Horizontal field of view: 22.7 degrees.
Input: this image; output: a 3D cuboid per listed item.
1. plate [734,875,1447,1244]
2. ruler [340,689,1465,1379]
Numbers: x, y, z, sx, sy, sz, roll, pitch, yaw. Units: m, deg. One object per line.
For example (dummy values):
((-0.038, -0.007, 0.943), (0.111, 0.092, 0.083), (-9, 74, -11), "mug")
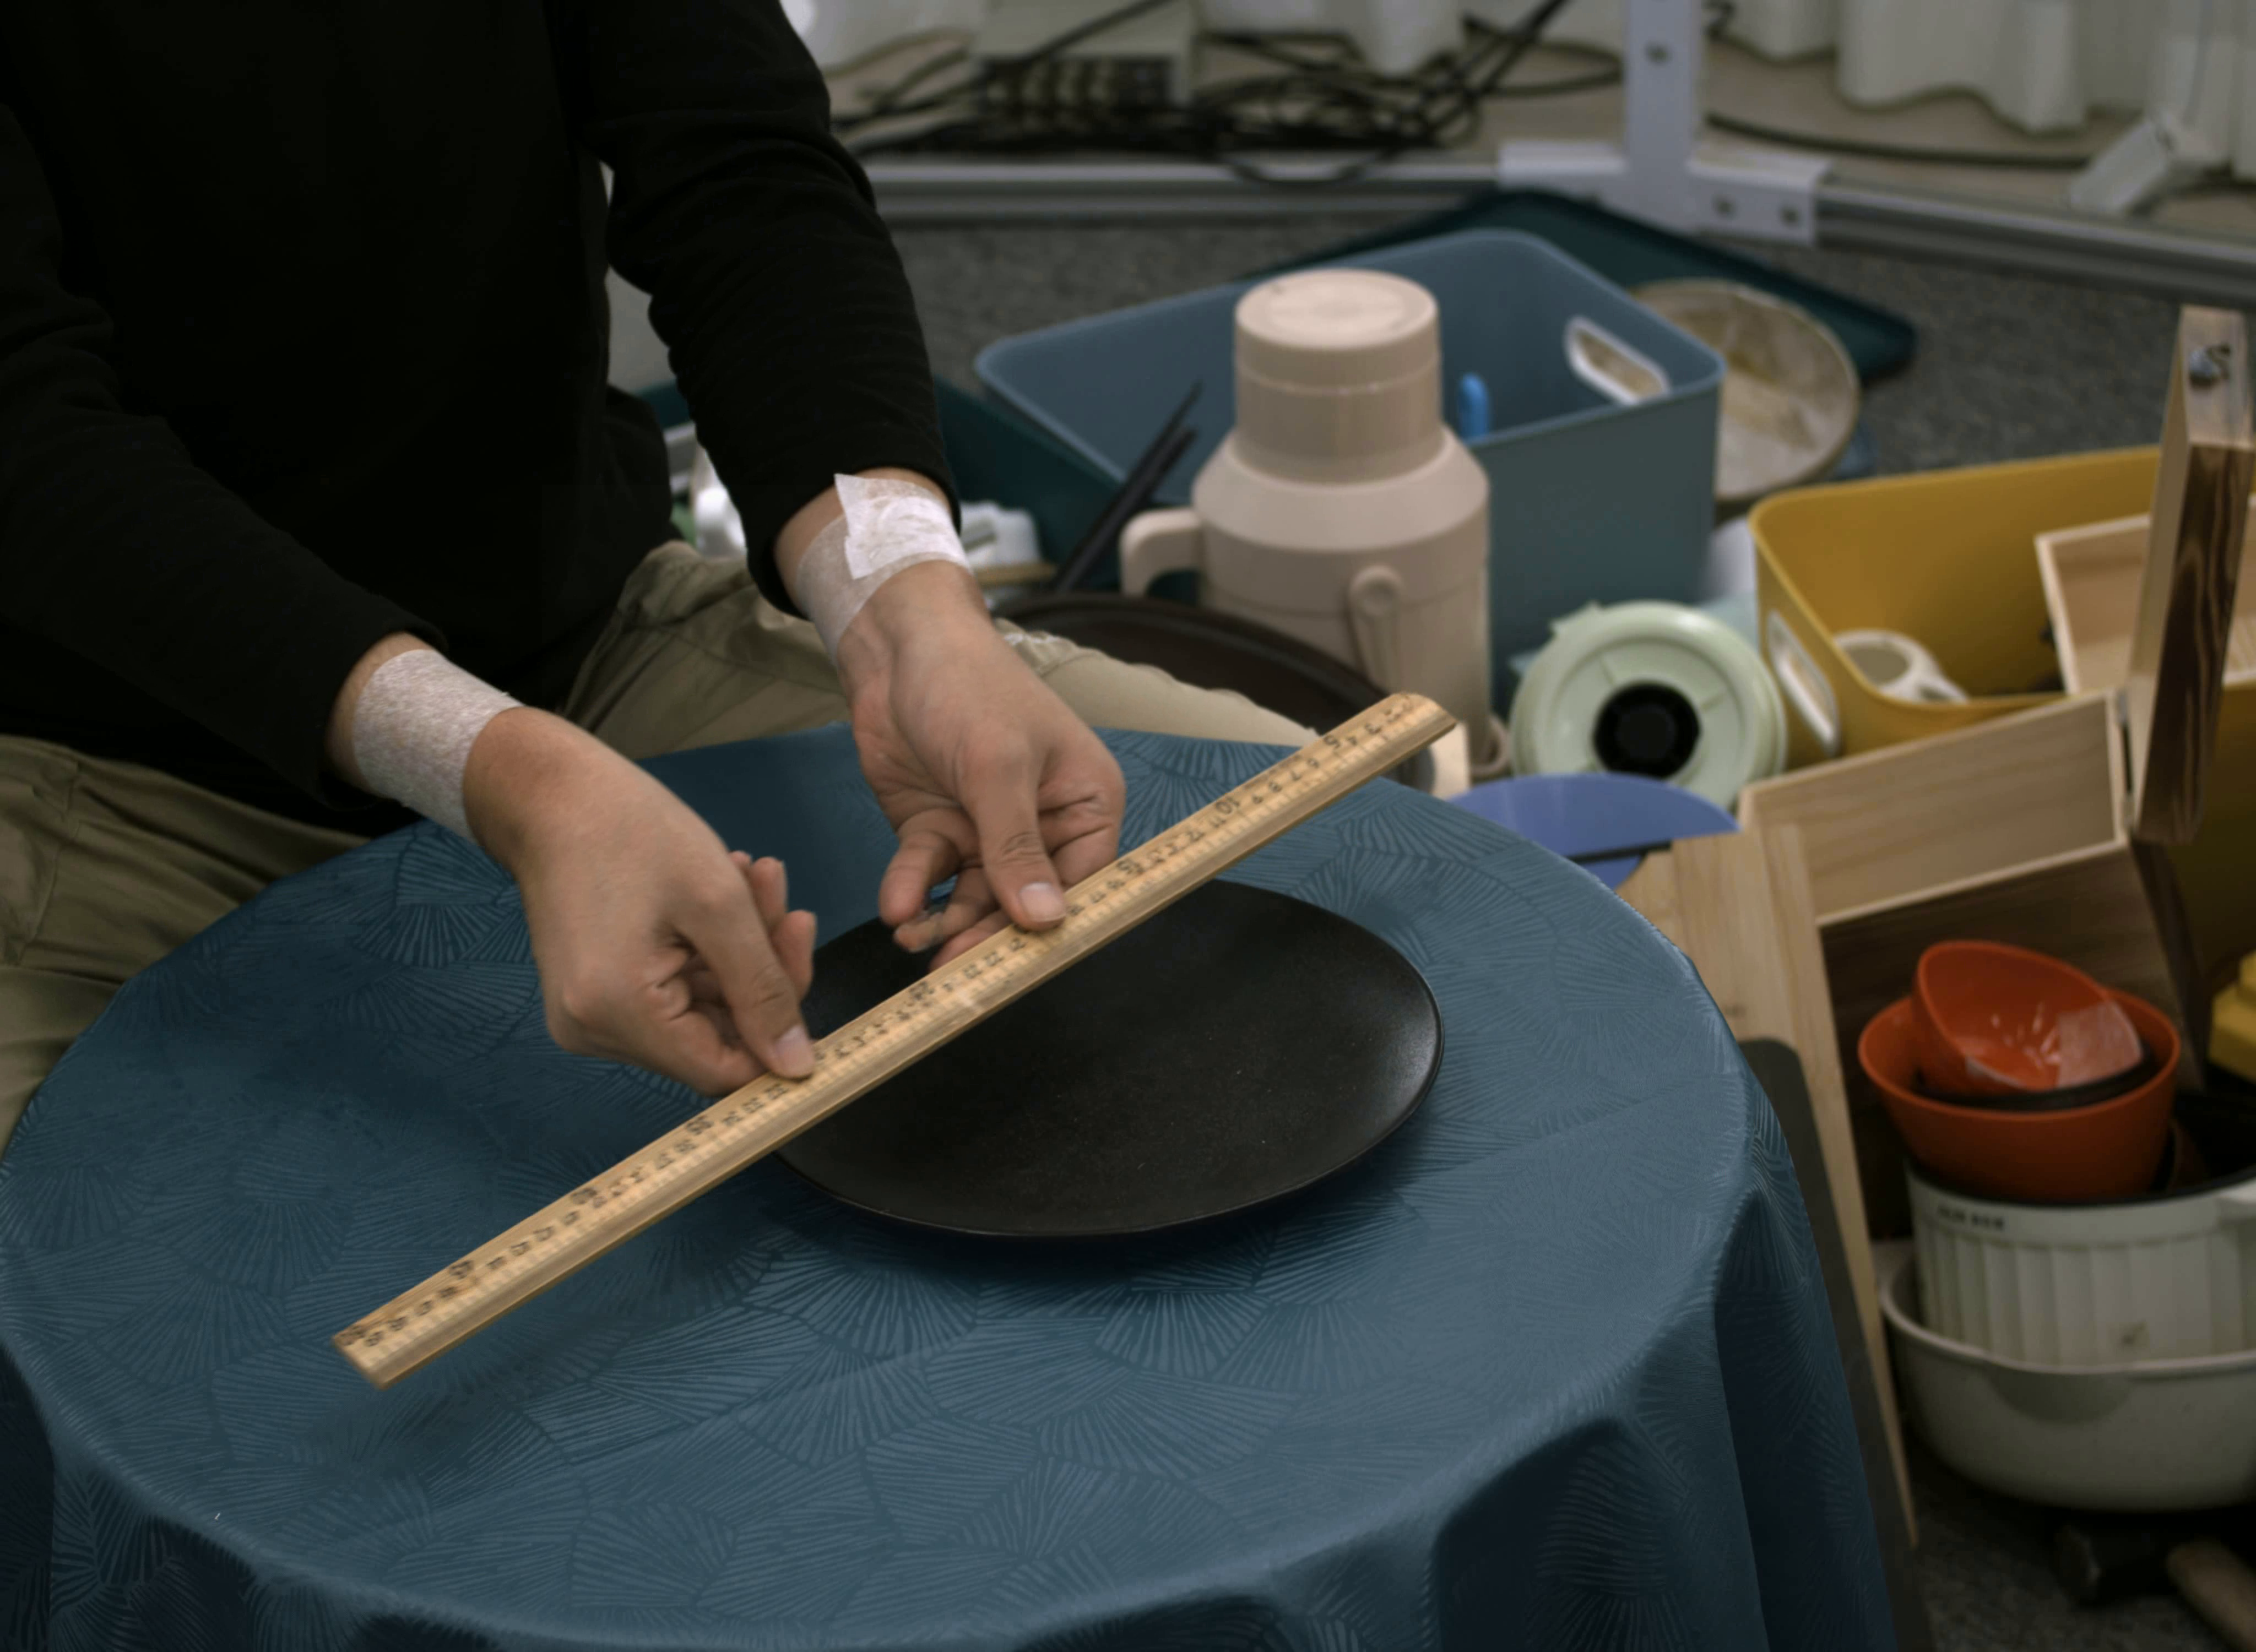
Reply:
((-0.012, 0.083, 1.912), (0.243, 0.023, 0.248), (-3, 27, 2), "plate")
((-0.062, 0.060, 1.881), (0.027, 0.006, 0.507), (37, 48, 27), "ruler")
